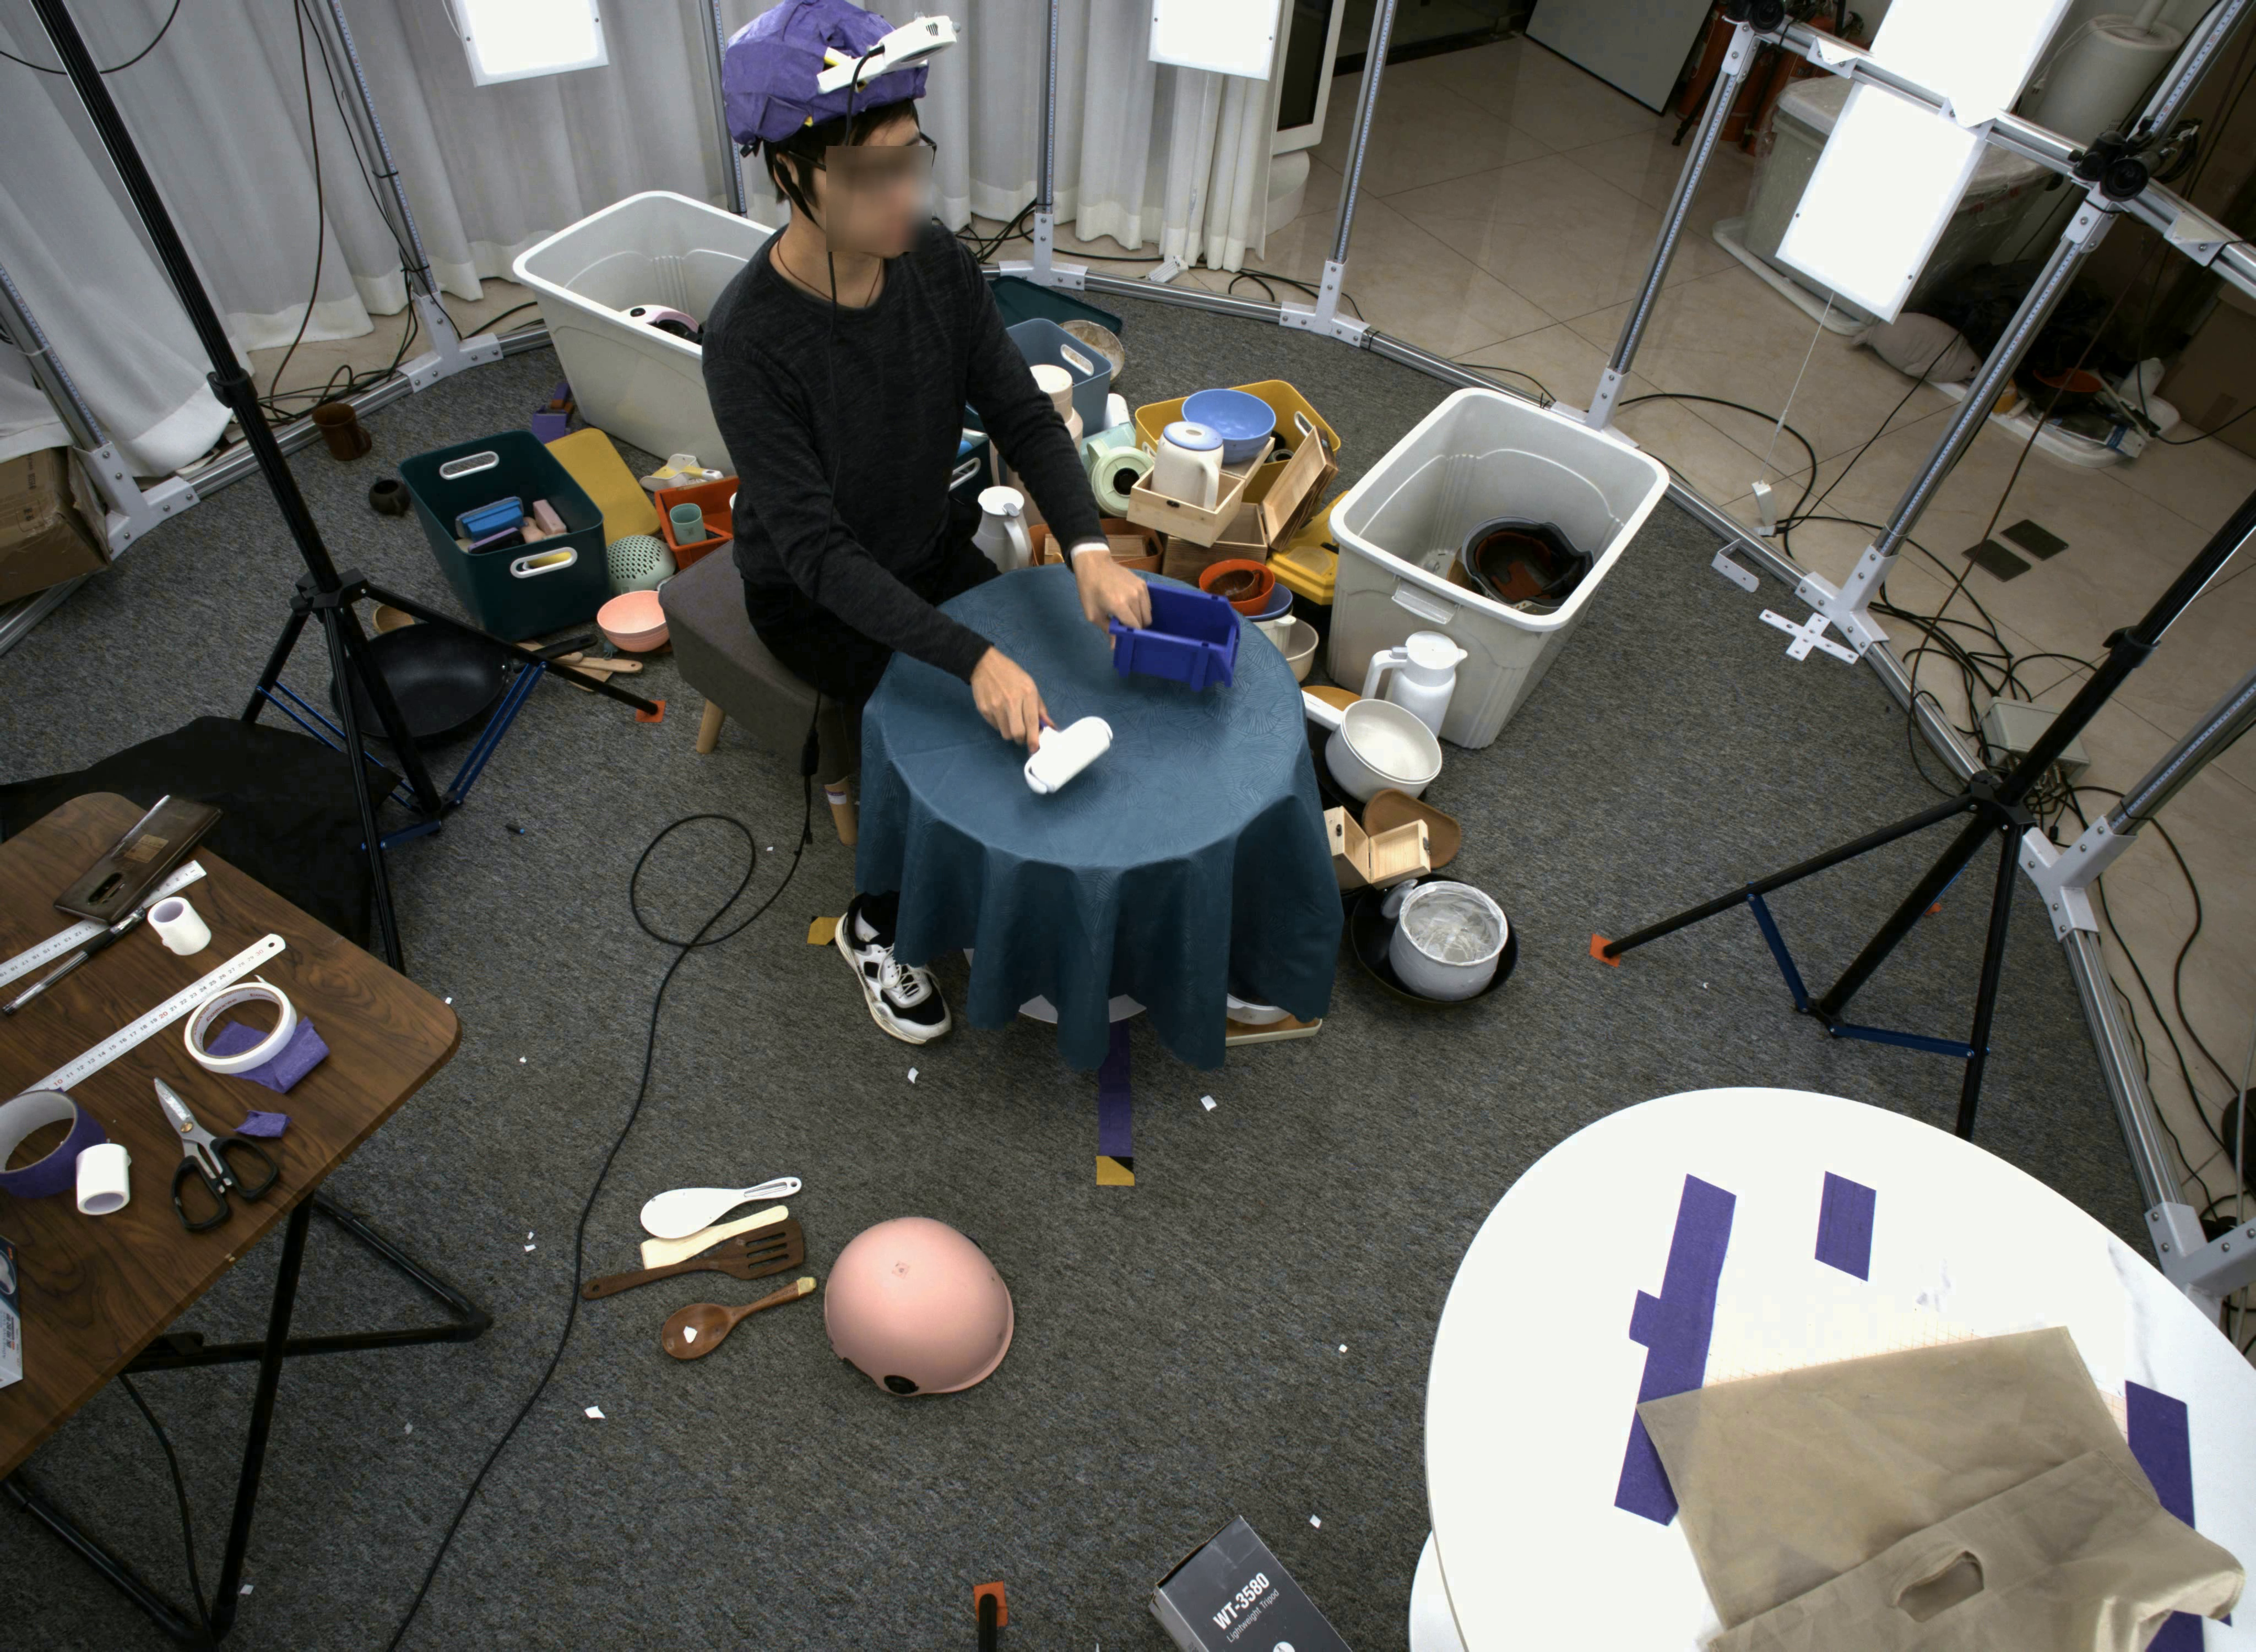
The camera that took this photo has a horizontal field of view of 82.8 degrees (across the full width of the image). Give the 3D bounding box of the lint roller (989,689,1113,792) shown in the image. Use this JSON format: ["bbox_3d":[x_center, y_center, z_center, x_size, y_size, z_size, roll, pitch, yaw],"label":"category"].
[{"bbox_3d":[-0.119,-0.136,1.704,0.134,0.049,0.183,-39,67,-20],"label":"lint roller"}]

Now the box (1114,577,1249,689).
[{"bbox_3d":[0.078,-0.271,1.809,0.179,0.080,0.127,11,46,6],"label":"box"}]
